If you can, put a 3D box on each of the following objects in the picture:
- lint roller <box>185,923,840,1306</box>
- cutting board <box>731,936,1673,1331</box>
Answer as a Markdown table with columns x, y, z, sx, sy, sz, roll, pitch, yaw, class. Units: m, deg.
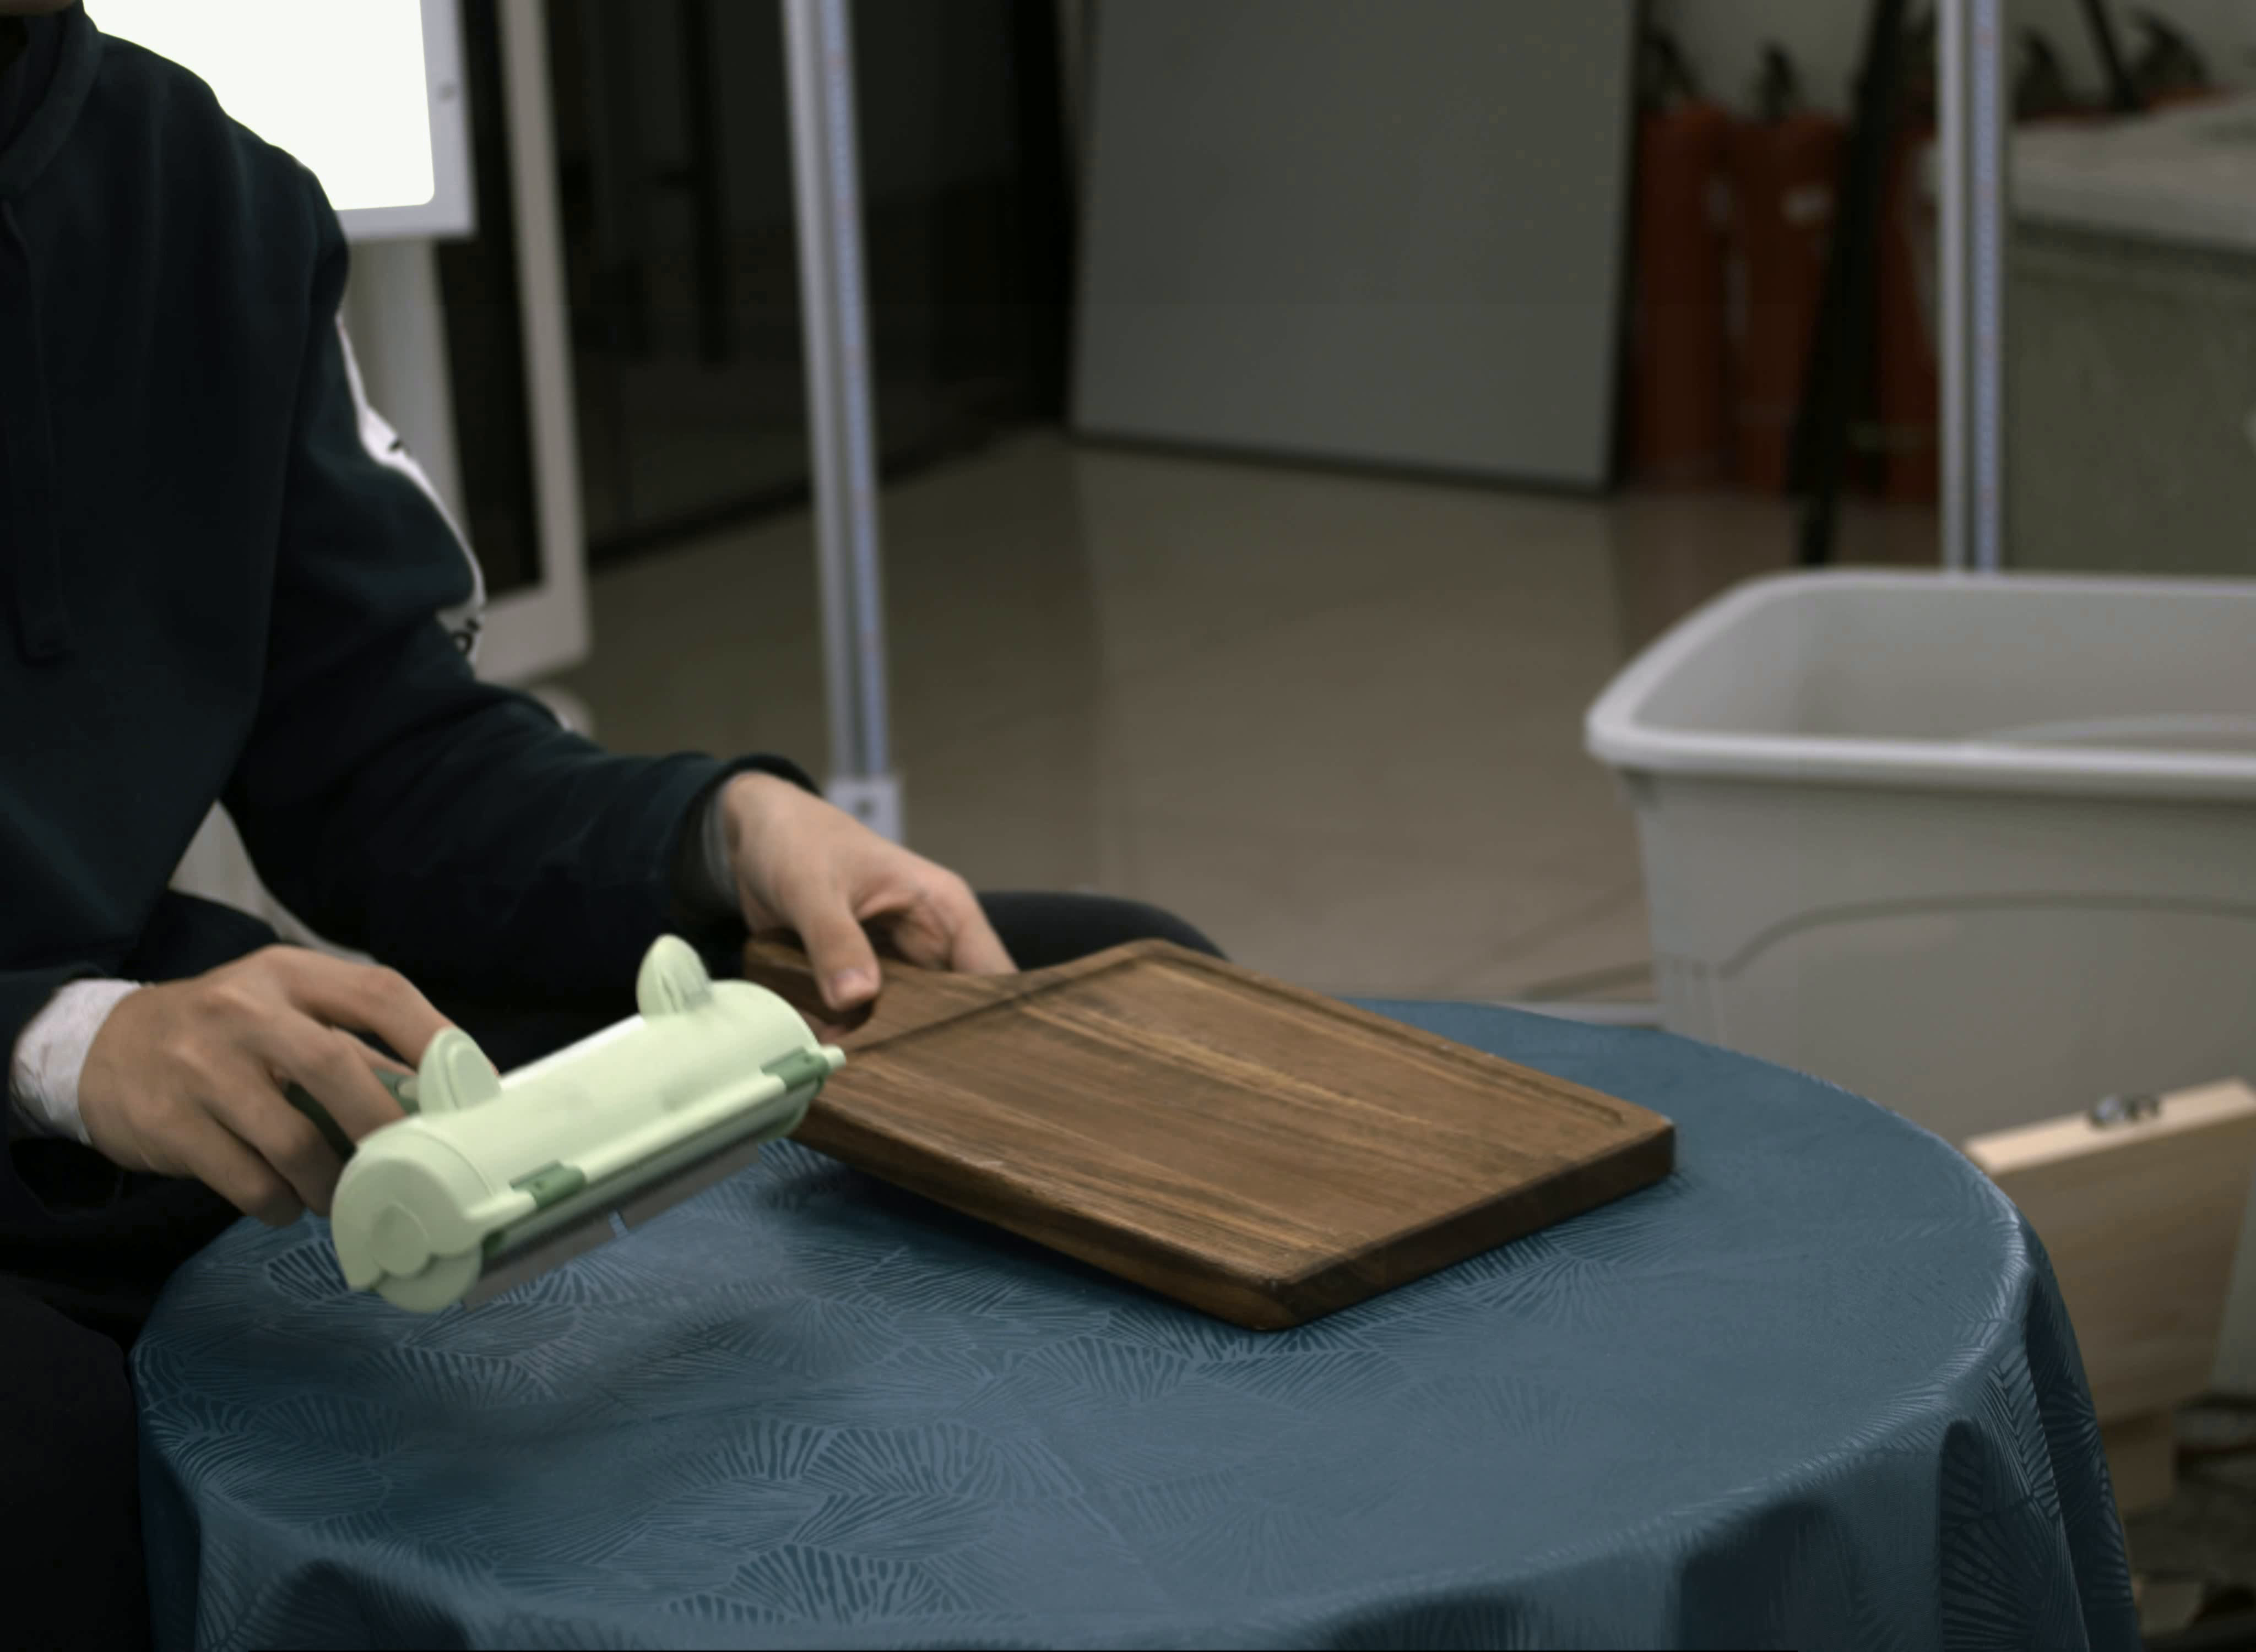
| x | y | z | sx | sy | sz | roll | pitch | yaw | class |
| --- | --- | --- | --- | --- | --- | --- | --- | --- | --- |
| -0.210 | 0.074 | 1.632 | 0.184 | 0.083 | 0.195 | 12 | 18 | 28 | lint roller |
| -0.009 | 0.087 | 1.803 | 0.197 | 0.023 | 0.355 | -17 | 24 | -42 | cutting board |
